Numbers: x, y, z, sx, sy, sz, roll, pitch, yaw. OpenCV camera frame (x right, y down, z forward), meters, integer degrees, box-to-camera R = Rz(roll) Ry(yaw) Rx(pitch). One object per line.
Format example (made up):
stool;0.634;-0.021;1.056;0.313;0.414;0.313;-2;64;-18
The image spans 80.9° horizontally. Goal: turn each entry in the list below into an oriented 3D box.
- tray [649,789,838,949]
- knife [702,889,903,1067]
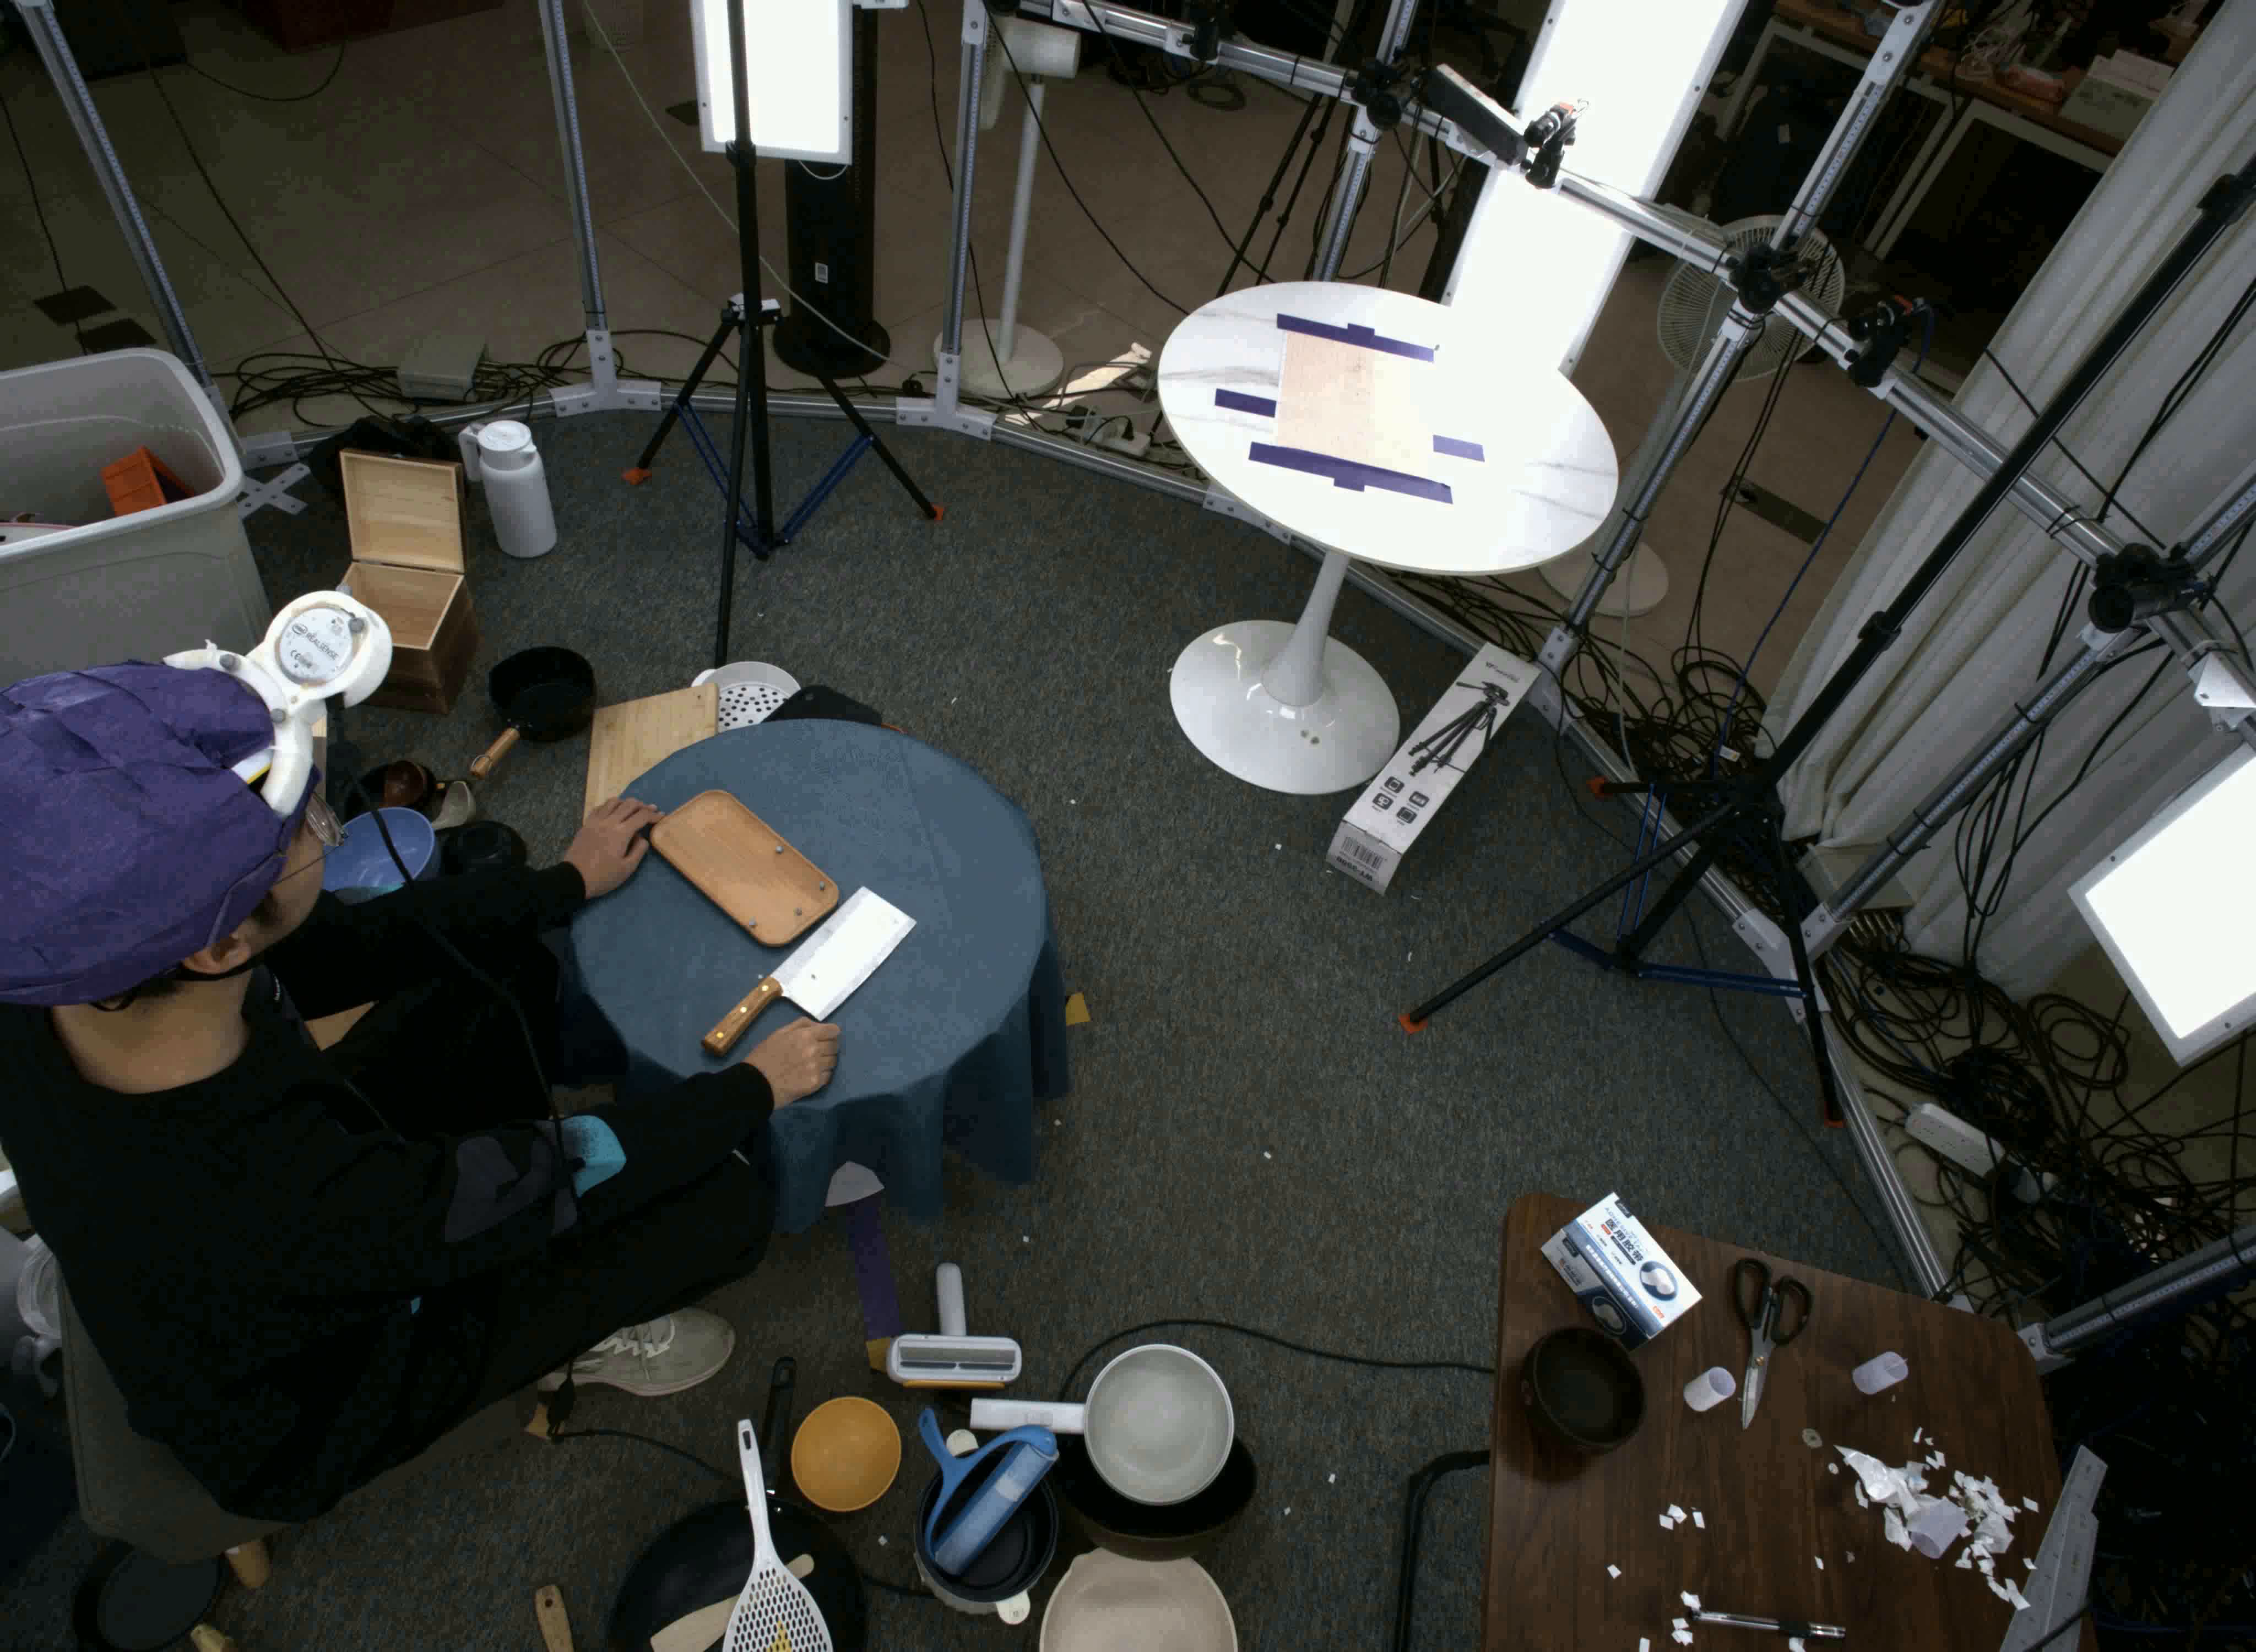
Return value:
tray;-0.491;0.051;1.648;0.245;0.023;0.131;38;51;15
knife;-0.384;0.188;1.574;0.091;0.021;0.305;33;50;9
